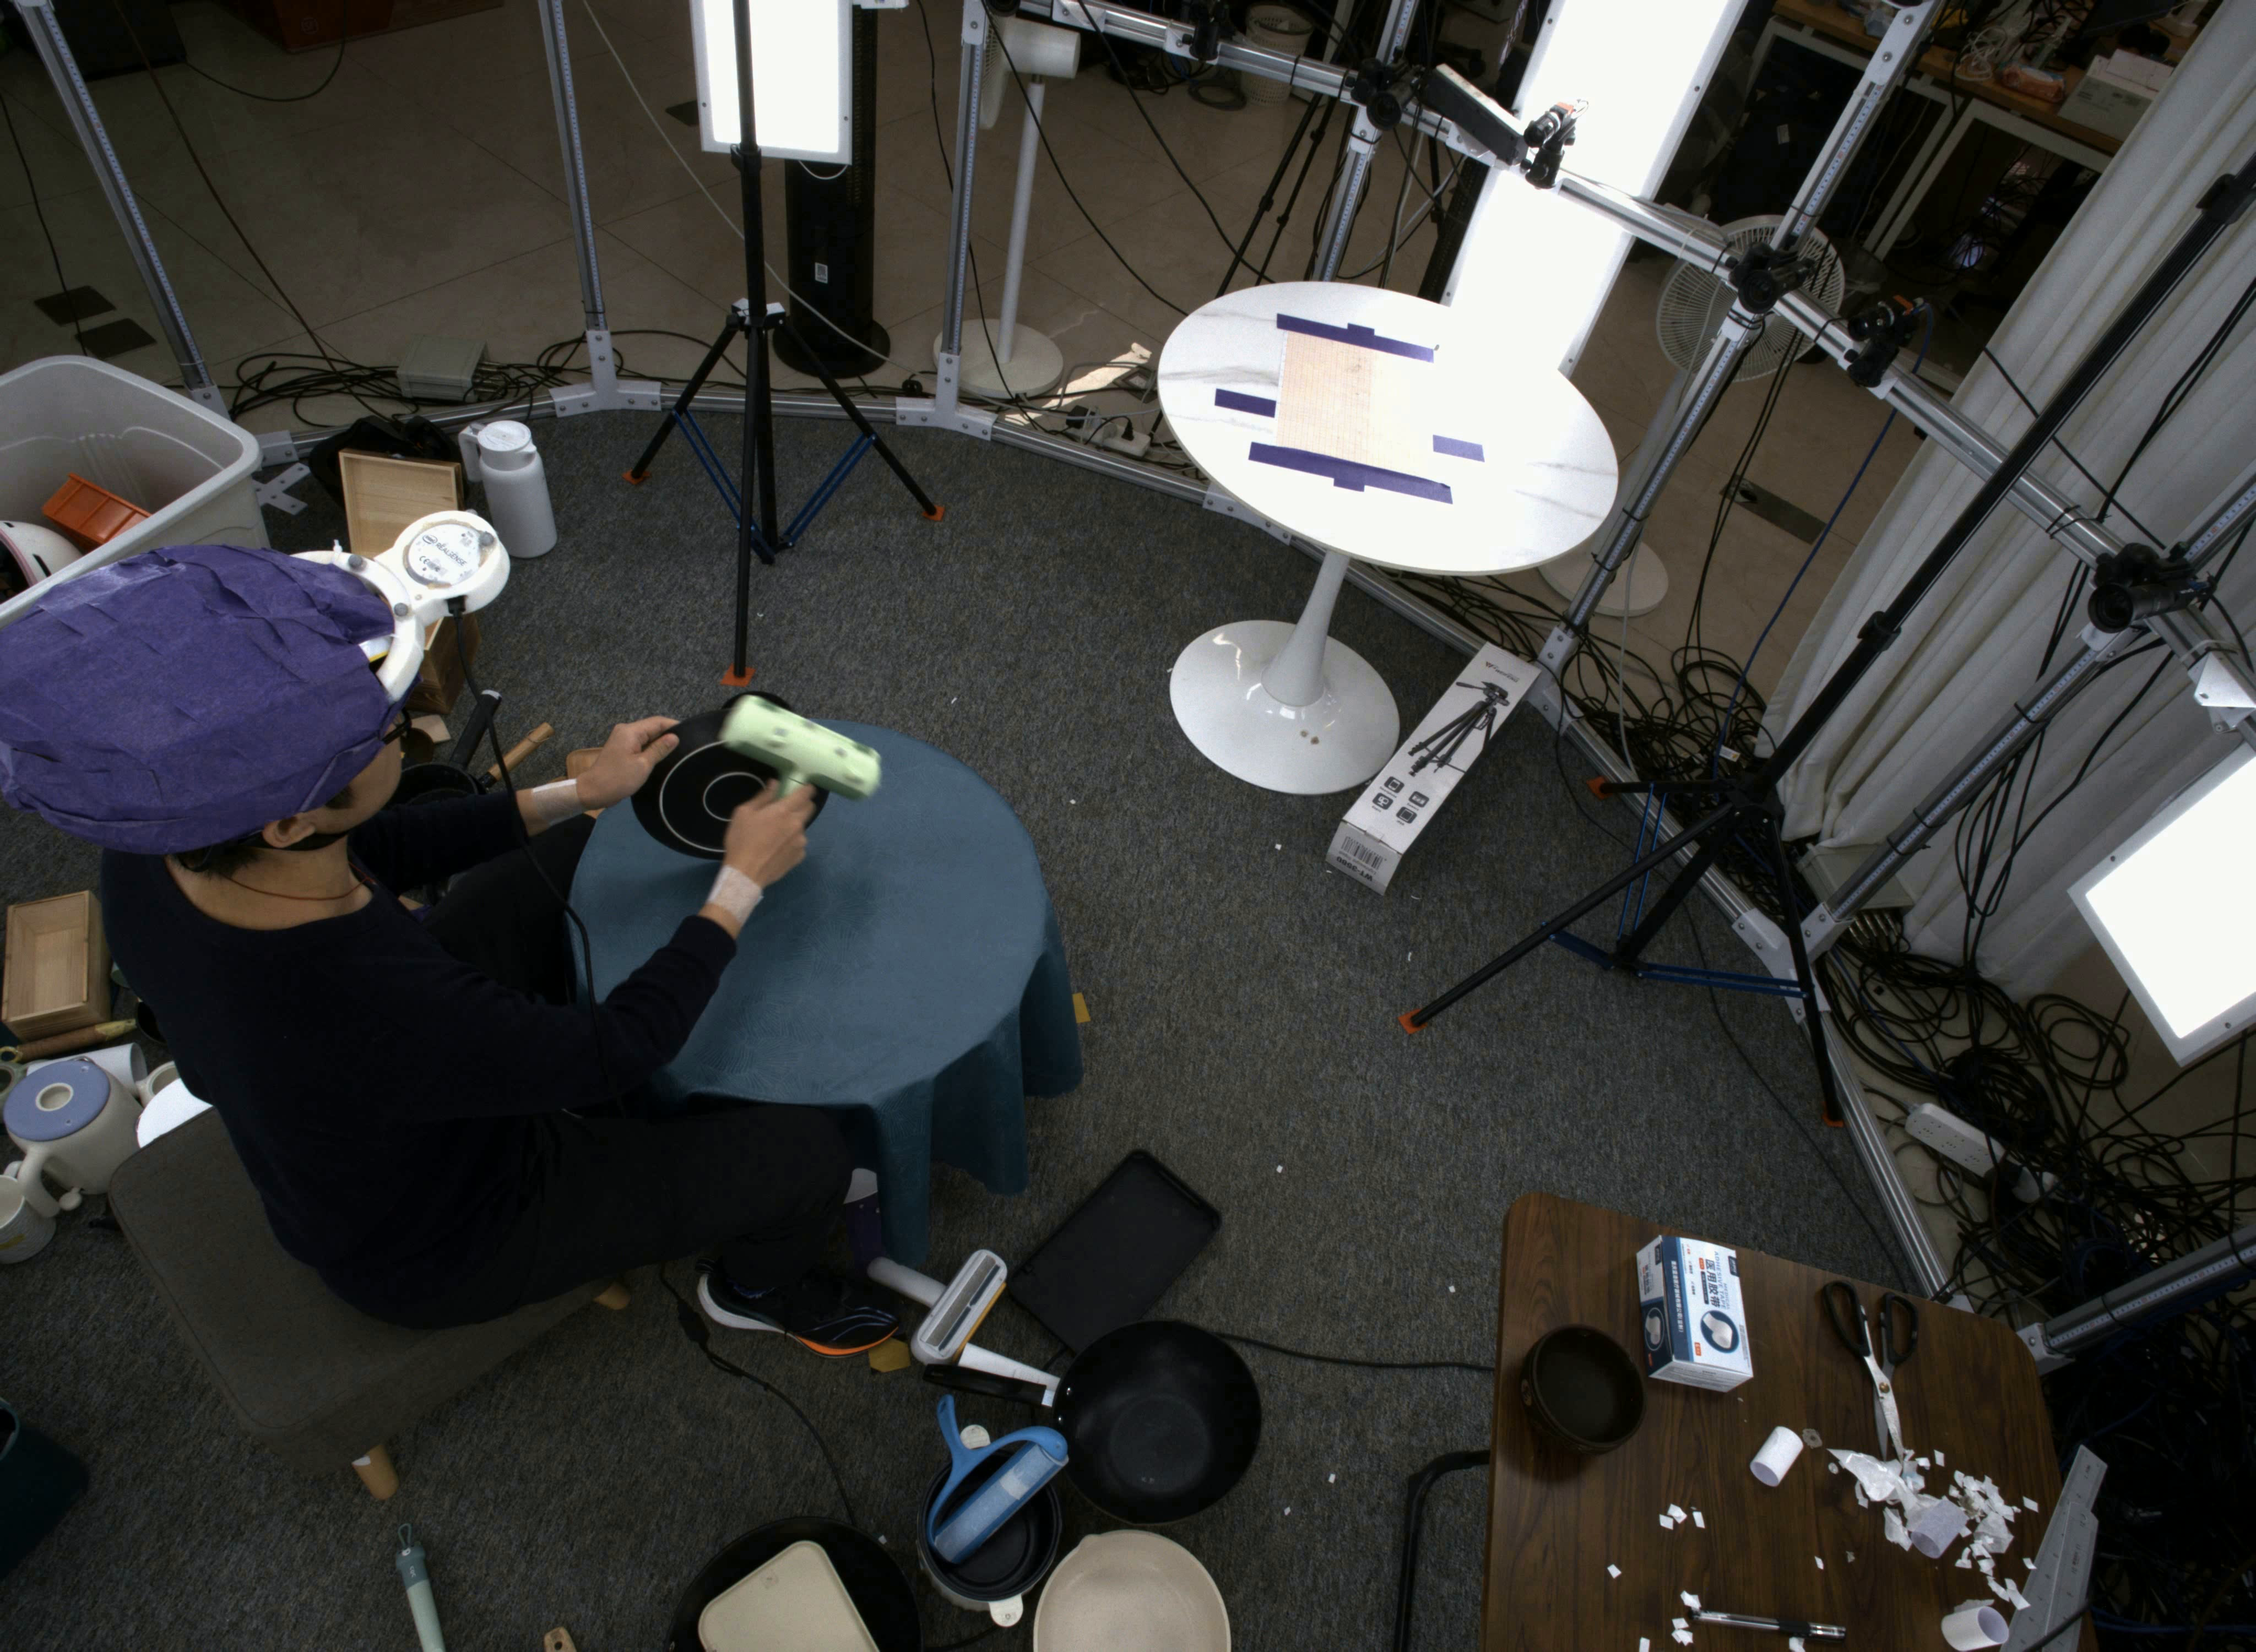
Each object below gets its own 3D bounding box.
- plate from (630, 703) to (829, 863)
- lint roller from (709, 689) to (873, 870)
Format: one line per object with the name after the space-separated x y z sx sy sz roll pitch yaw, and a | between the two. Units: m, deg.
-0.482 -0.044 1.573 0.245 0.251 0.023 -10 45 -20 | plate
-0.398 -0.041 1.512 0.204 0.080 0.183 23 70 -42 | lint roller
